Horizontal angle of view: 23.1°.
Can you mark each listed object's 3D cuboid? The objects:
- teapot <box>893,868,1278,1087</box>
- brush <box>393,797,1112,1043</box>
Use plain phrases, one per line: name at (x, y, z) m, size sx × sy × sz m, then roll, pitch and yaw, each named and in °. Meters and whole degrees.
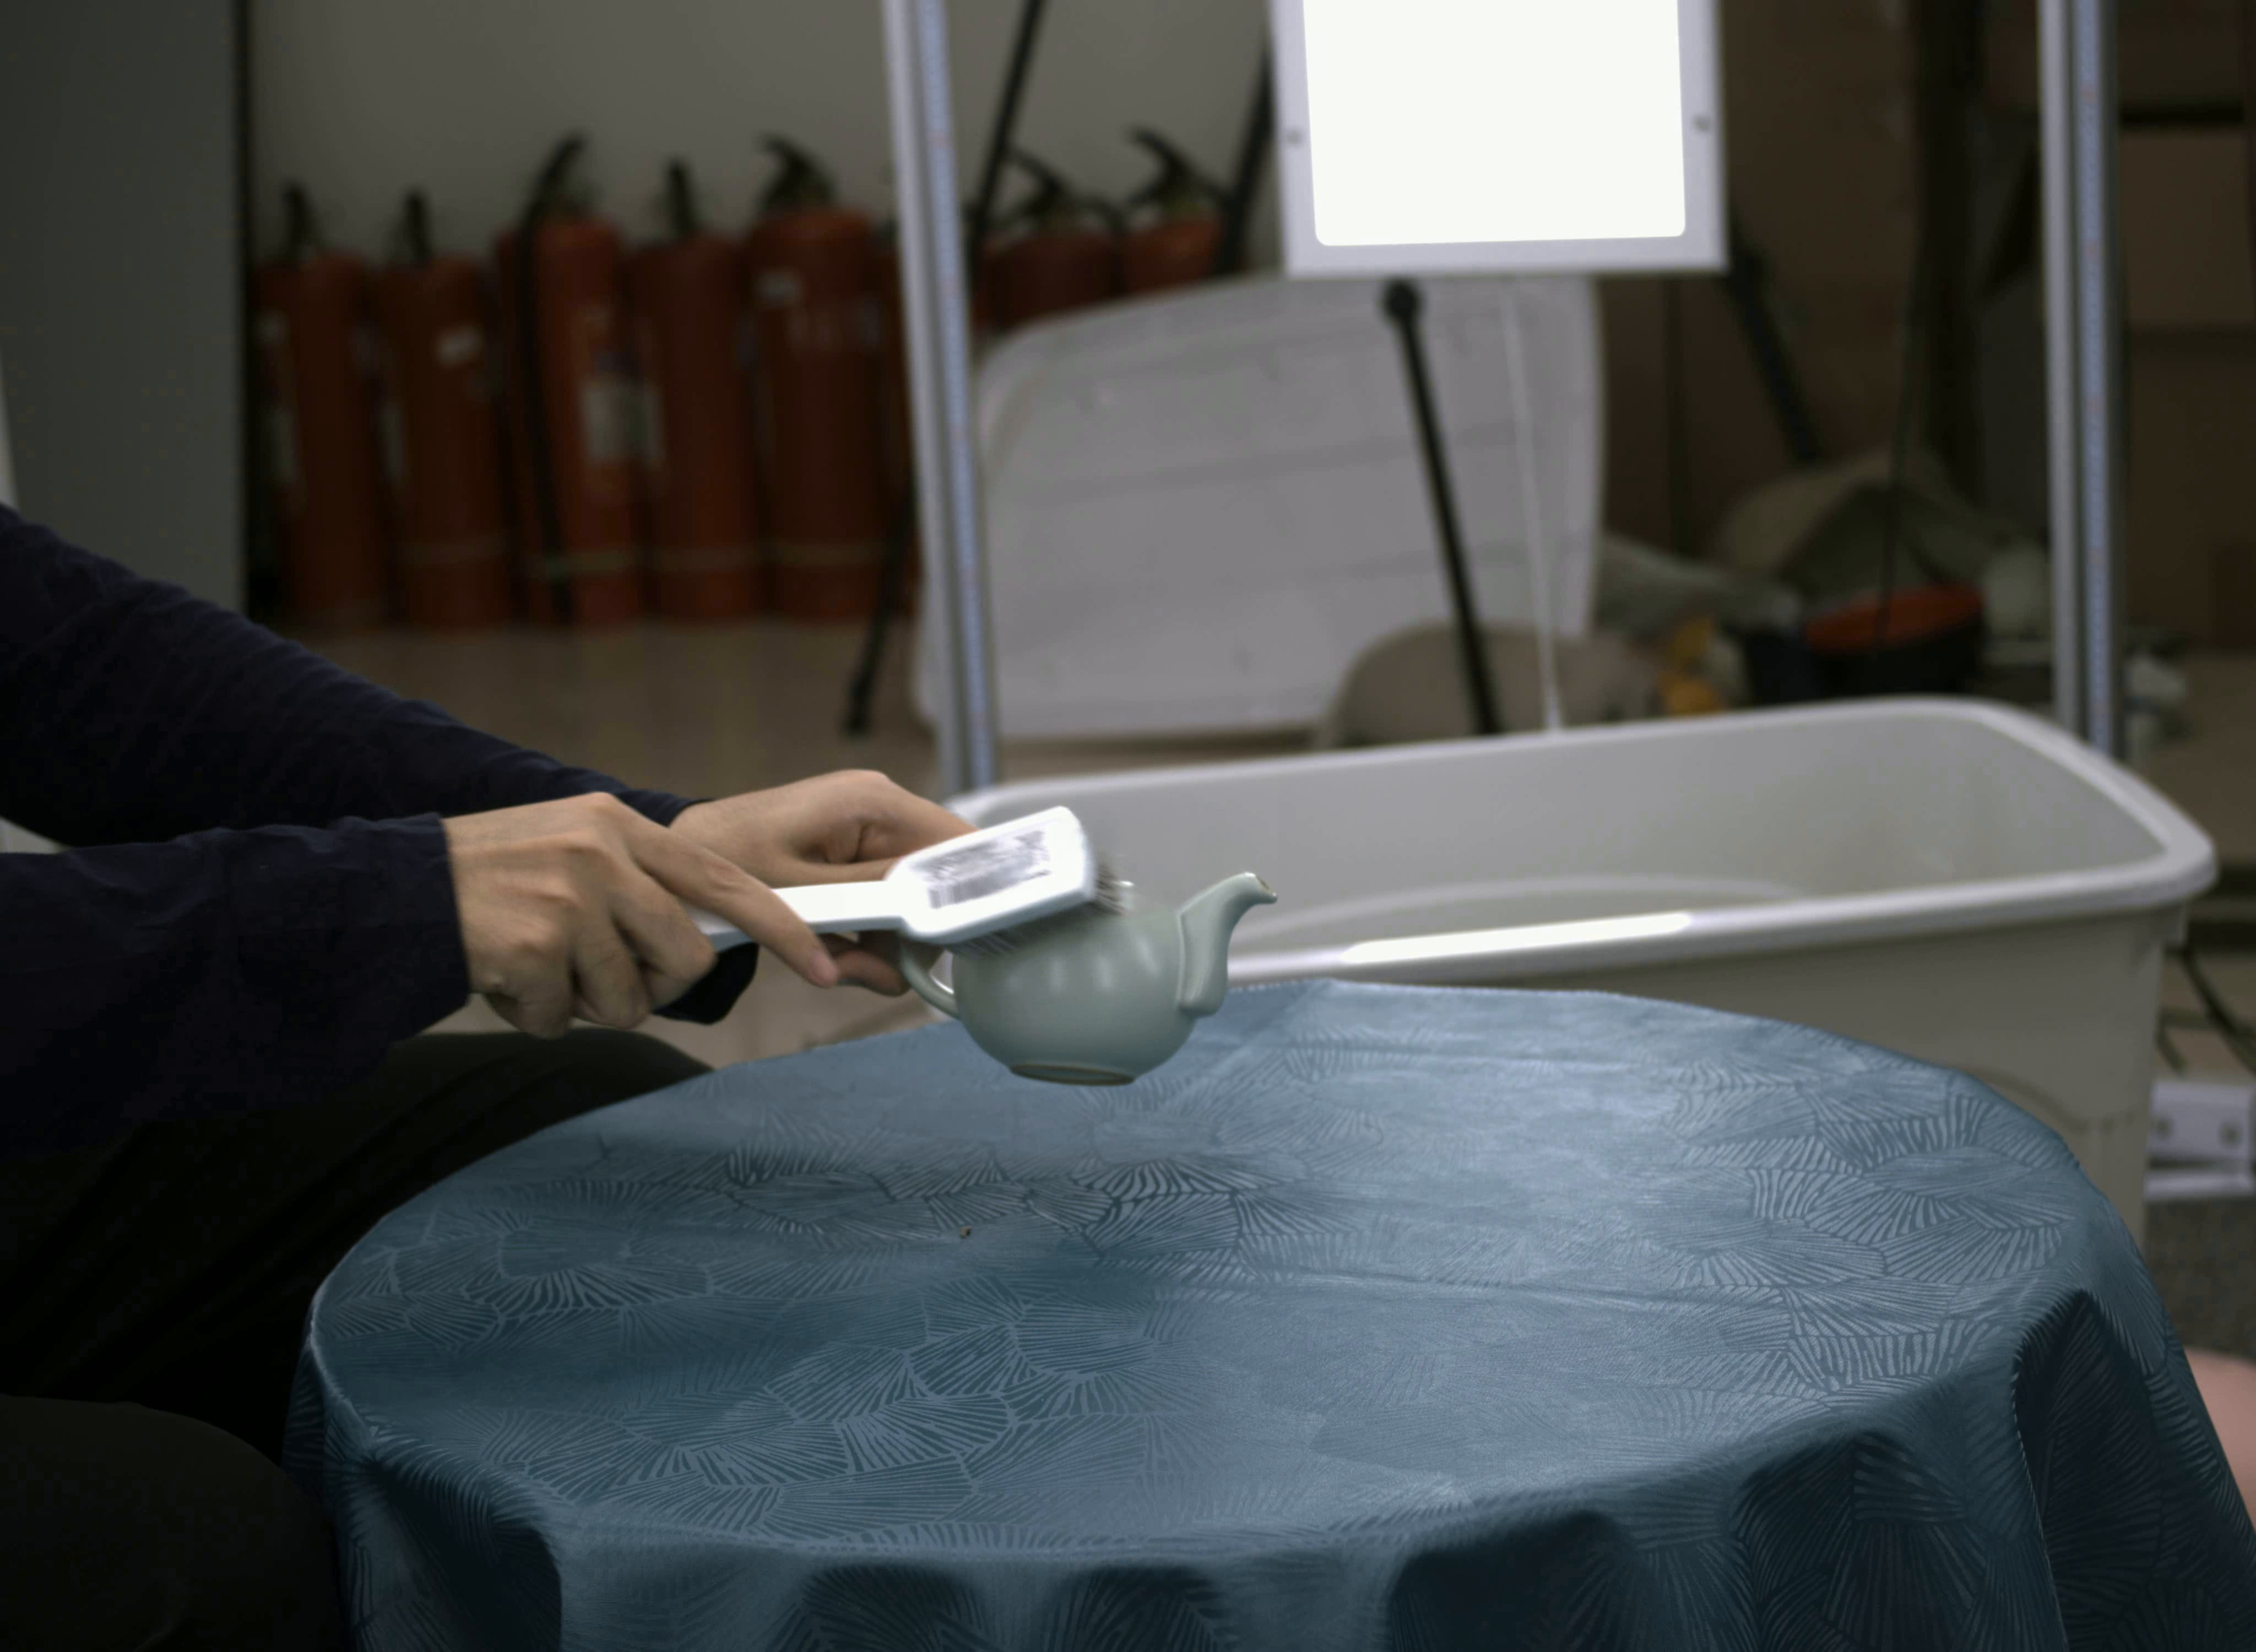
teapot at (-0.017, 0.051, 1.899) m, size 0.146 × 0.075 × 0.086 m, roll 1°, pitch -9°, yaw 29°
brush at (-0.125, 0.039, 1.848) m, size 0.243 × 0.034 × 0.050 m, roll -15°, pitch -19°, yaw -1°
